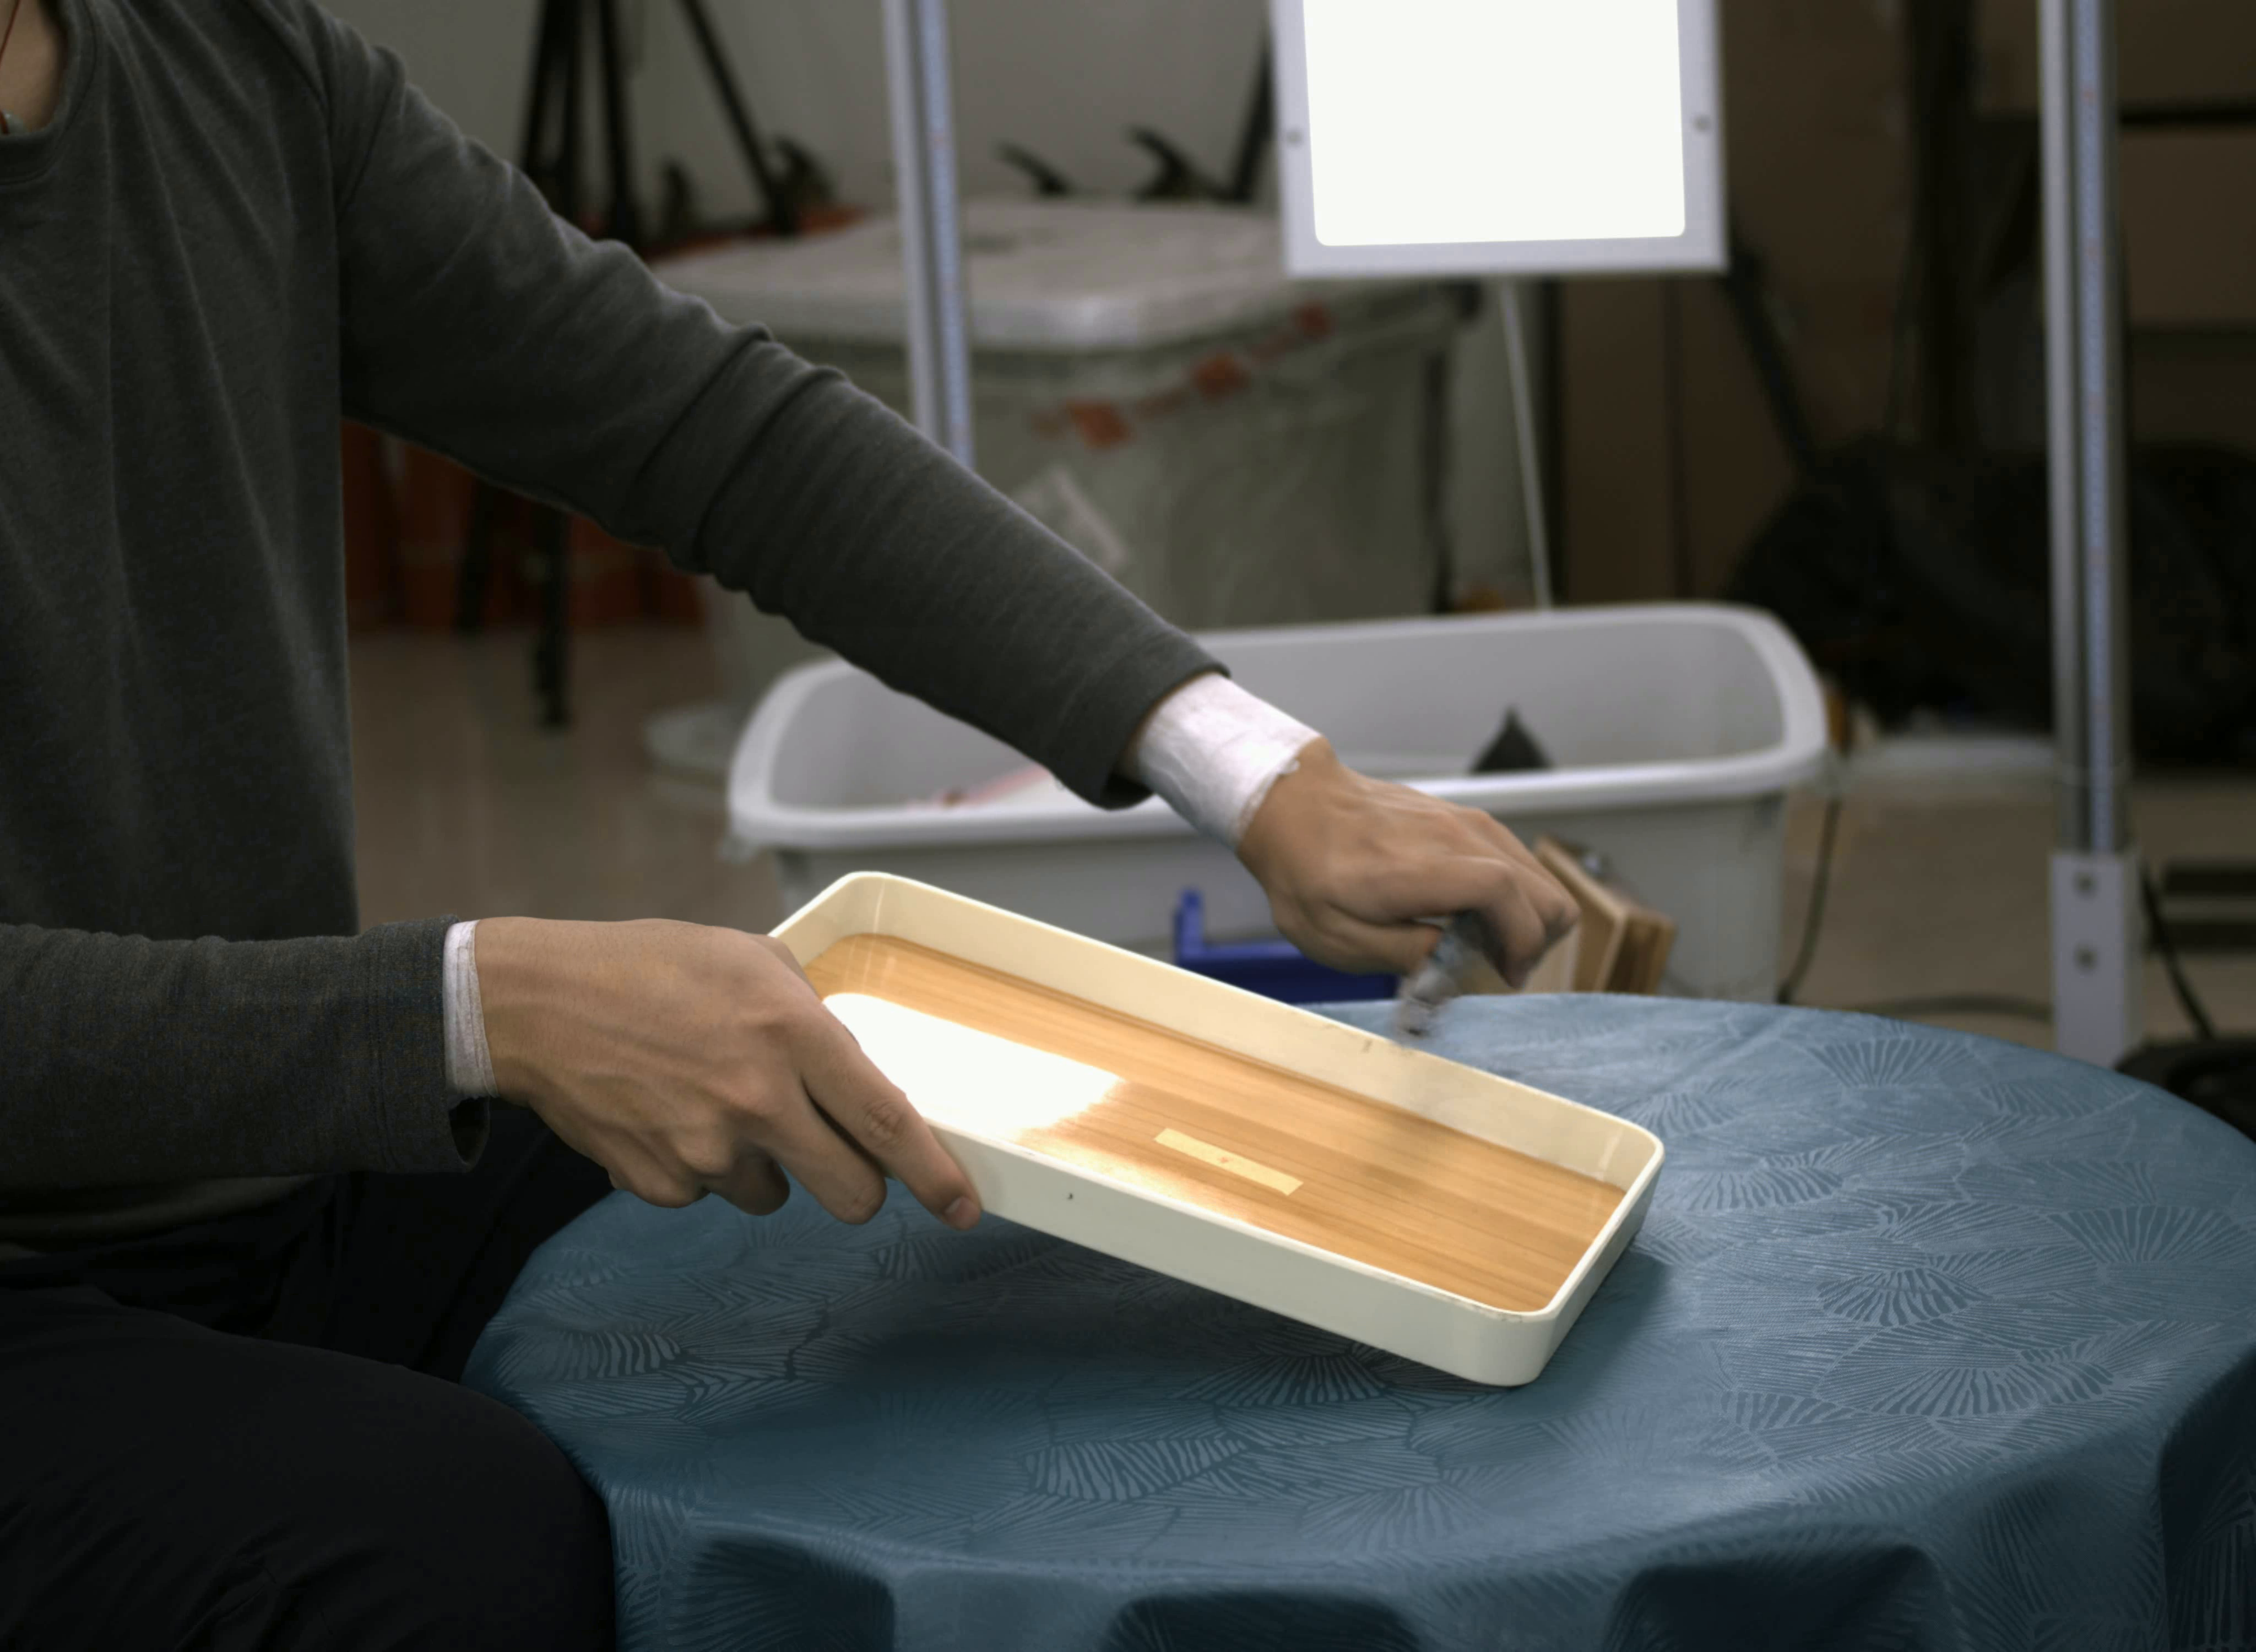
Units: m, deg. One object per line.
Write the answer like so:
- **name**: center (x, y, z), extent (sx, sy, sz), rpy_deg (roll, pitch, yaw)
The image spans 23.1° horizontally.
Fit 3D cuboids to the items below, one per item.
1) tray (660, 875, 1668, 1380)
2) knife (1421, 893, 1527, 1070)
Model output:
- **tray**: center (0.014, 0.094, 1.786), extent (0.303, 0.027, 0.188), rpy_deg (18, 19, 15)
- **knife**: center (0.117, 0.053, 1.878), extent (0.024, 0.016, 0.236), rpy_deg (17, 14, 6)
